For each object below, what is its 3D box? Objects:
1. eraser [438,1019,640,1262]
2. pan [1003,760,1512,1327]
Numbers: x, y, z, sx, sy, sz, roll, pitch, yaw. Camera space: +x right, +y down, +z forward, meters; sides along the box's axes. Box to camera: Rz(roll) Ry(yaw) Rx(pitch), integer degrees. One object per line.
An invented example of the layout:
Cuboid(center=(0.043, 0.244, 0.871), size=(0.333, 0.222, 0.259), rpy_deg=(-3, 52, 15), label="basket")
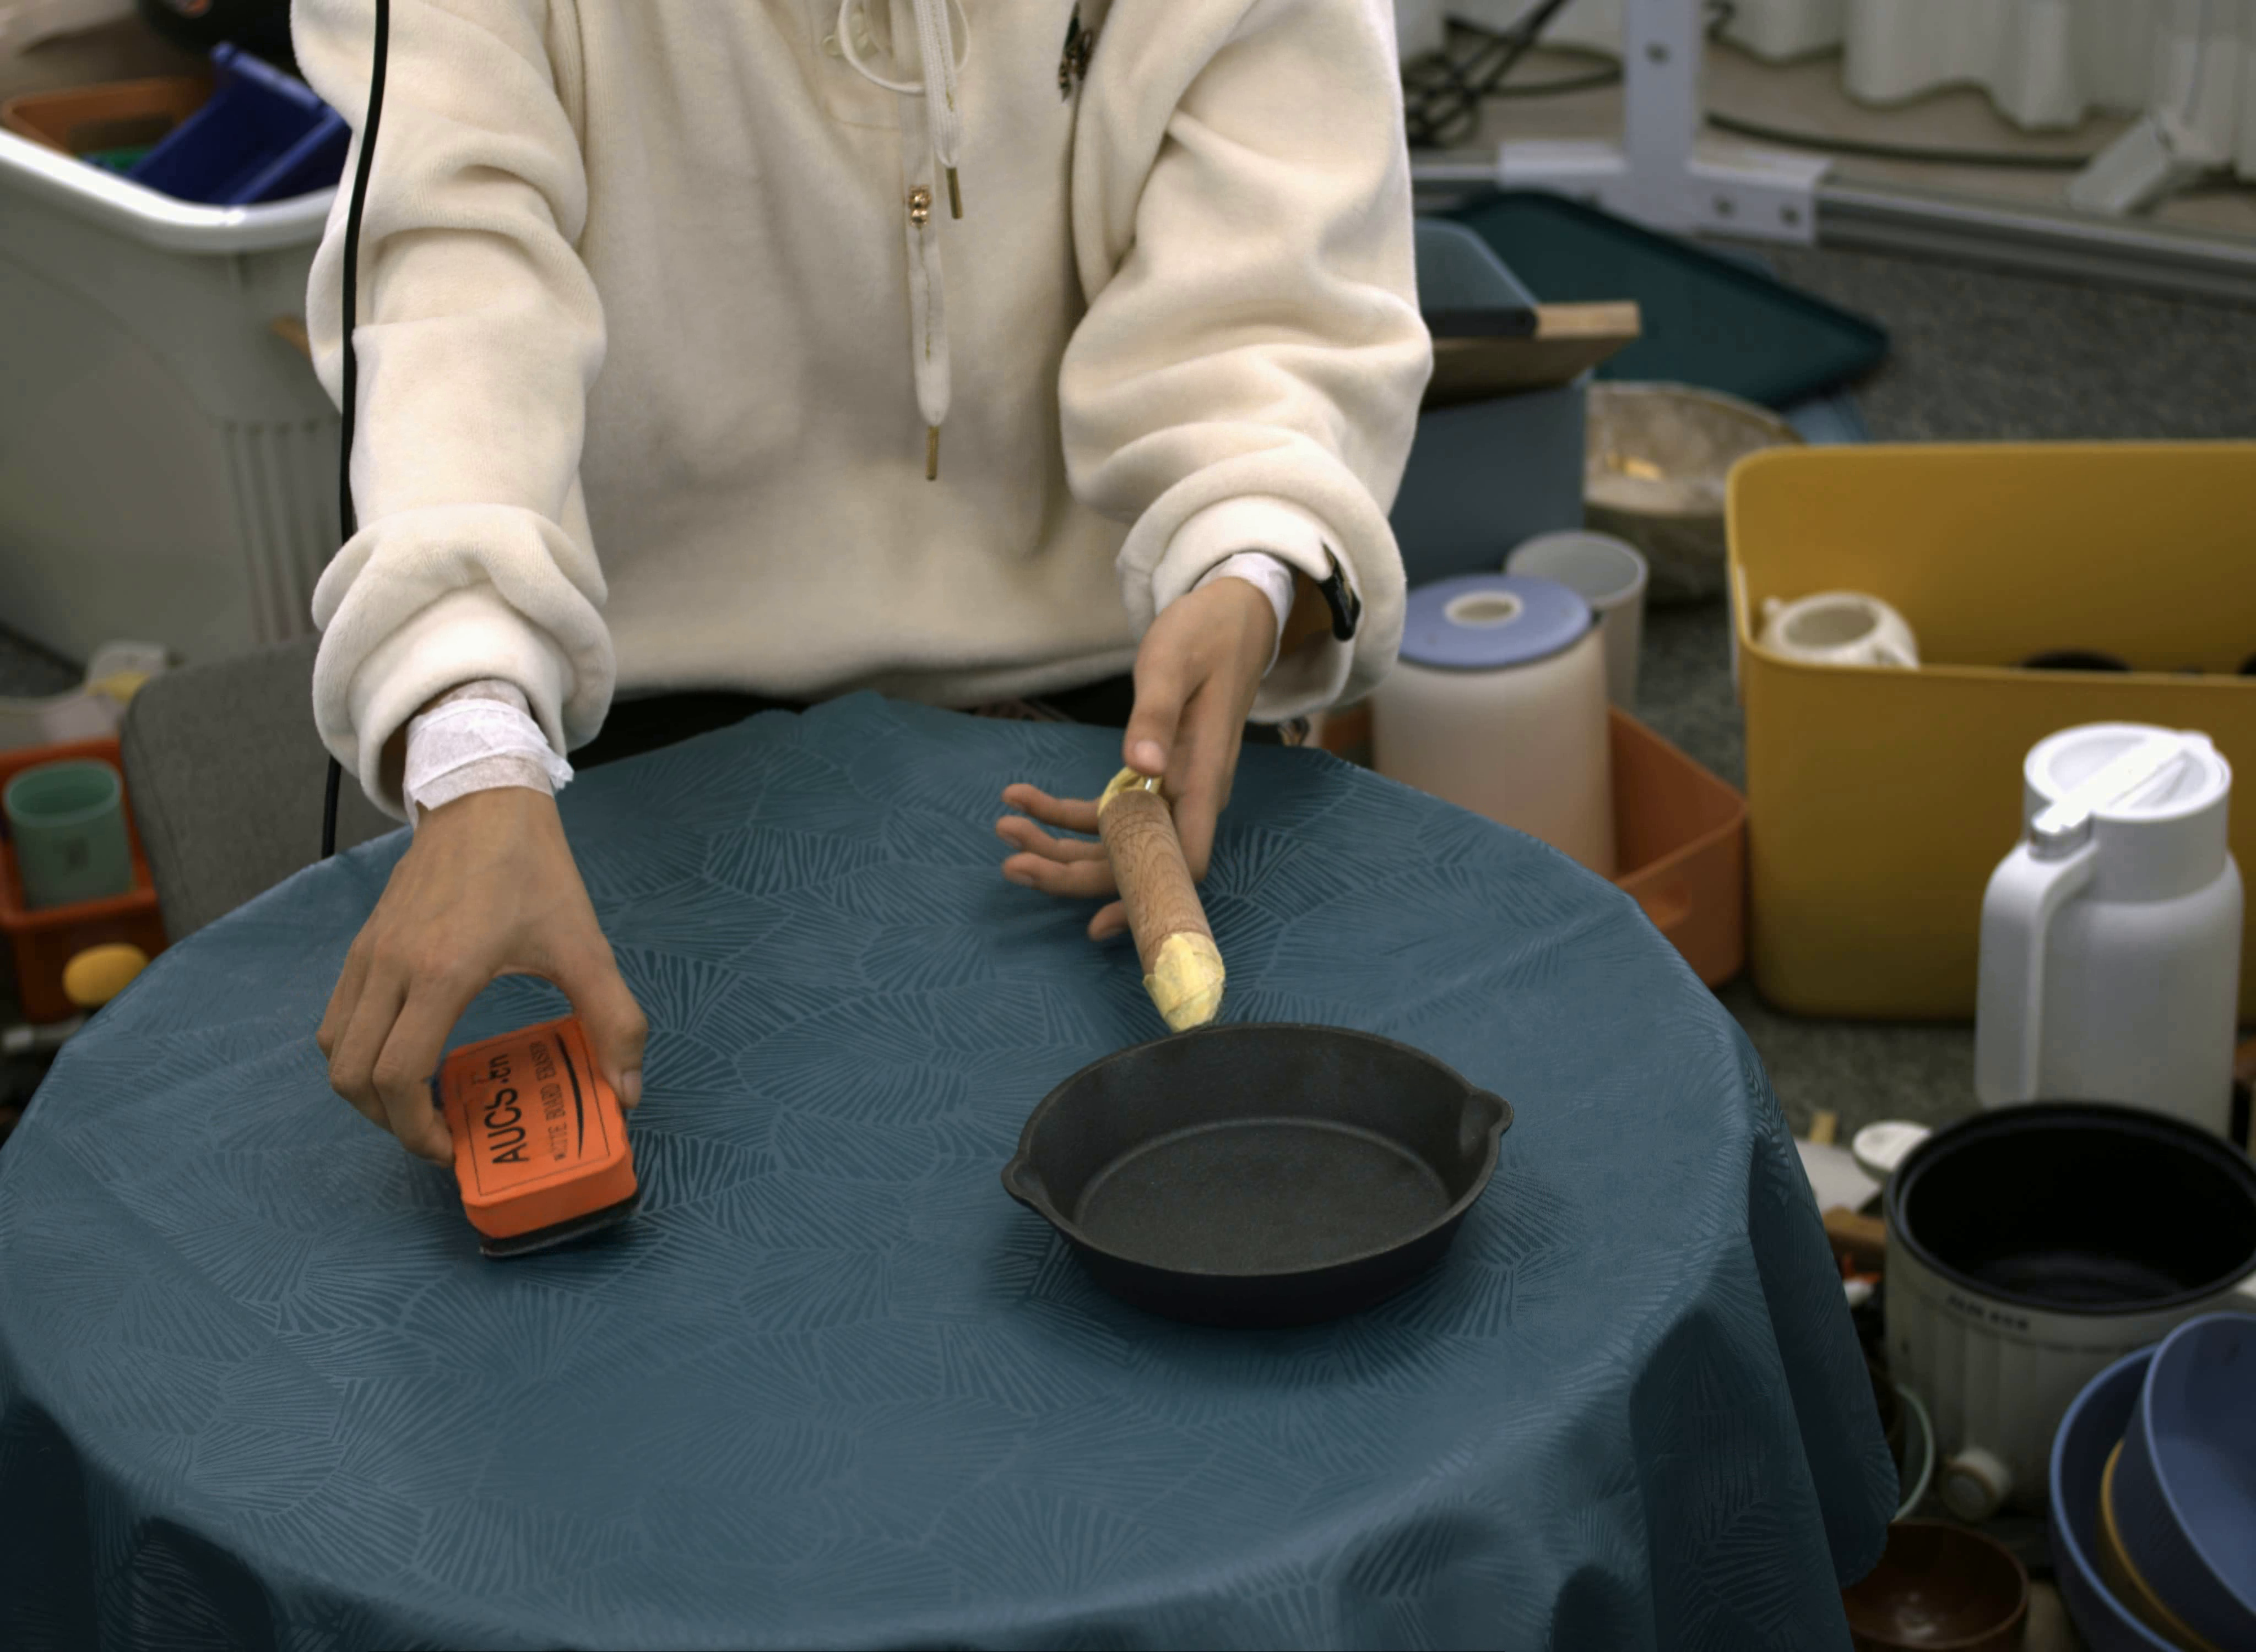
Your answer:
Cuboid(center=(-0.198, 0.105, 1.881), size=(0.059, 0.022, 0.109), rpy_deg=(-14, 28, -5), label="eraser")
Cuboid(center=(0.028, 0.070, 1.903), size=(0.168, 0.049, 0.328), rpy_deg=(-7, 29, -7), label="pan")
